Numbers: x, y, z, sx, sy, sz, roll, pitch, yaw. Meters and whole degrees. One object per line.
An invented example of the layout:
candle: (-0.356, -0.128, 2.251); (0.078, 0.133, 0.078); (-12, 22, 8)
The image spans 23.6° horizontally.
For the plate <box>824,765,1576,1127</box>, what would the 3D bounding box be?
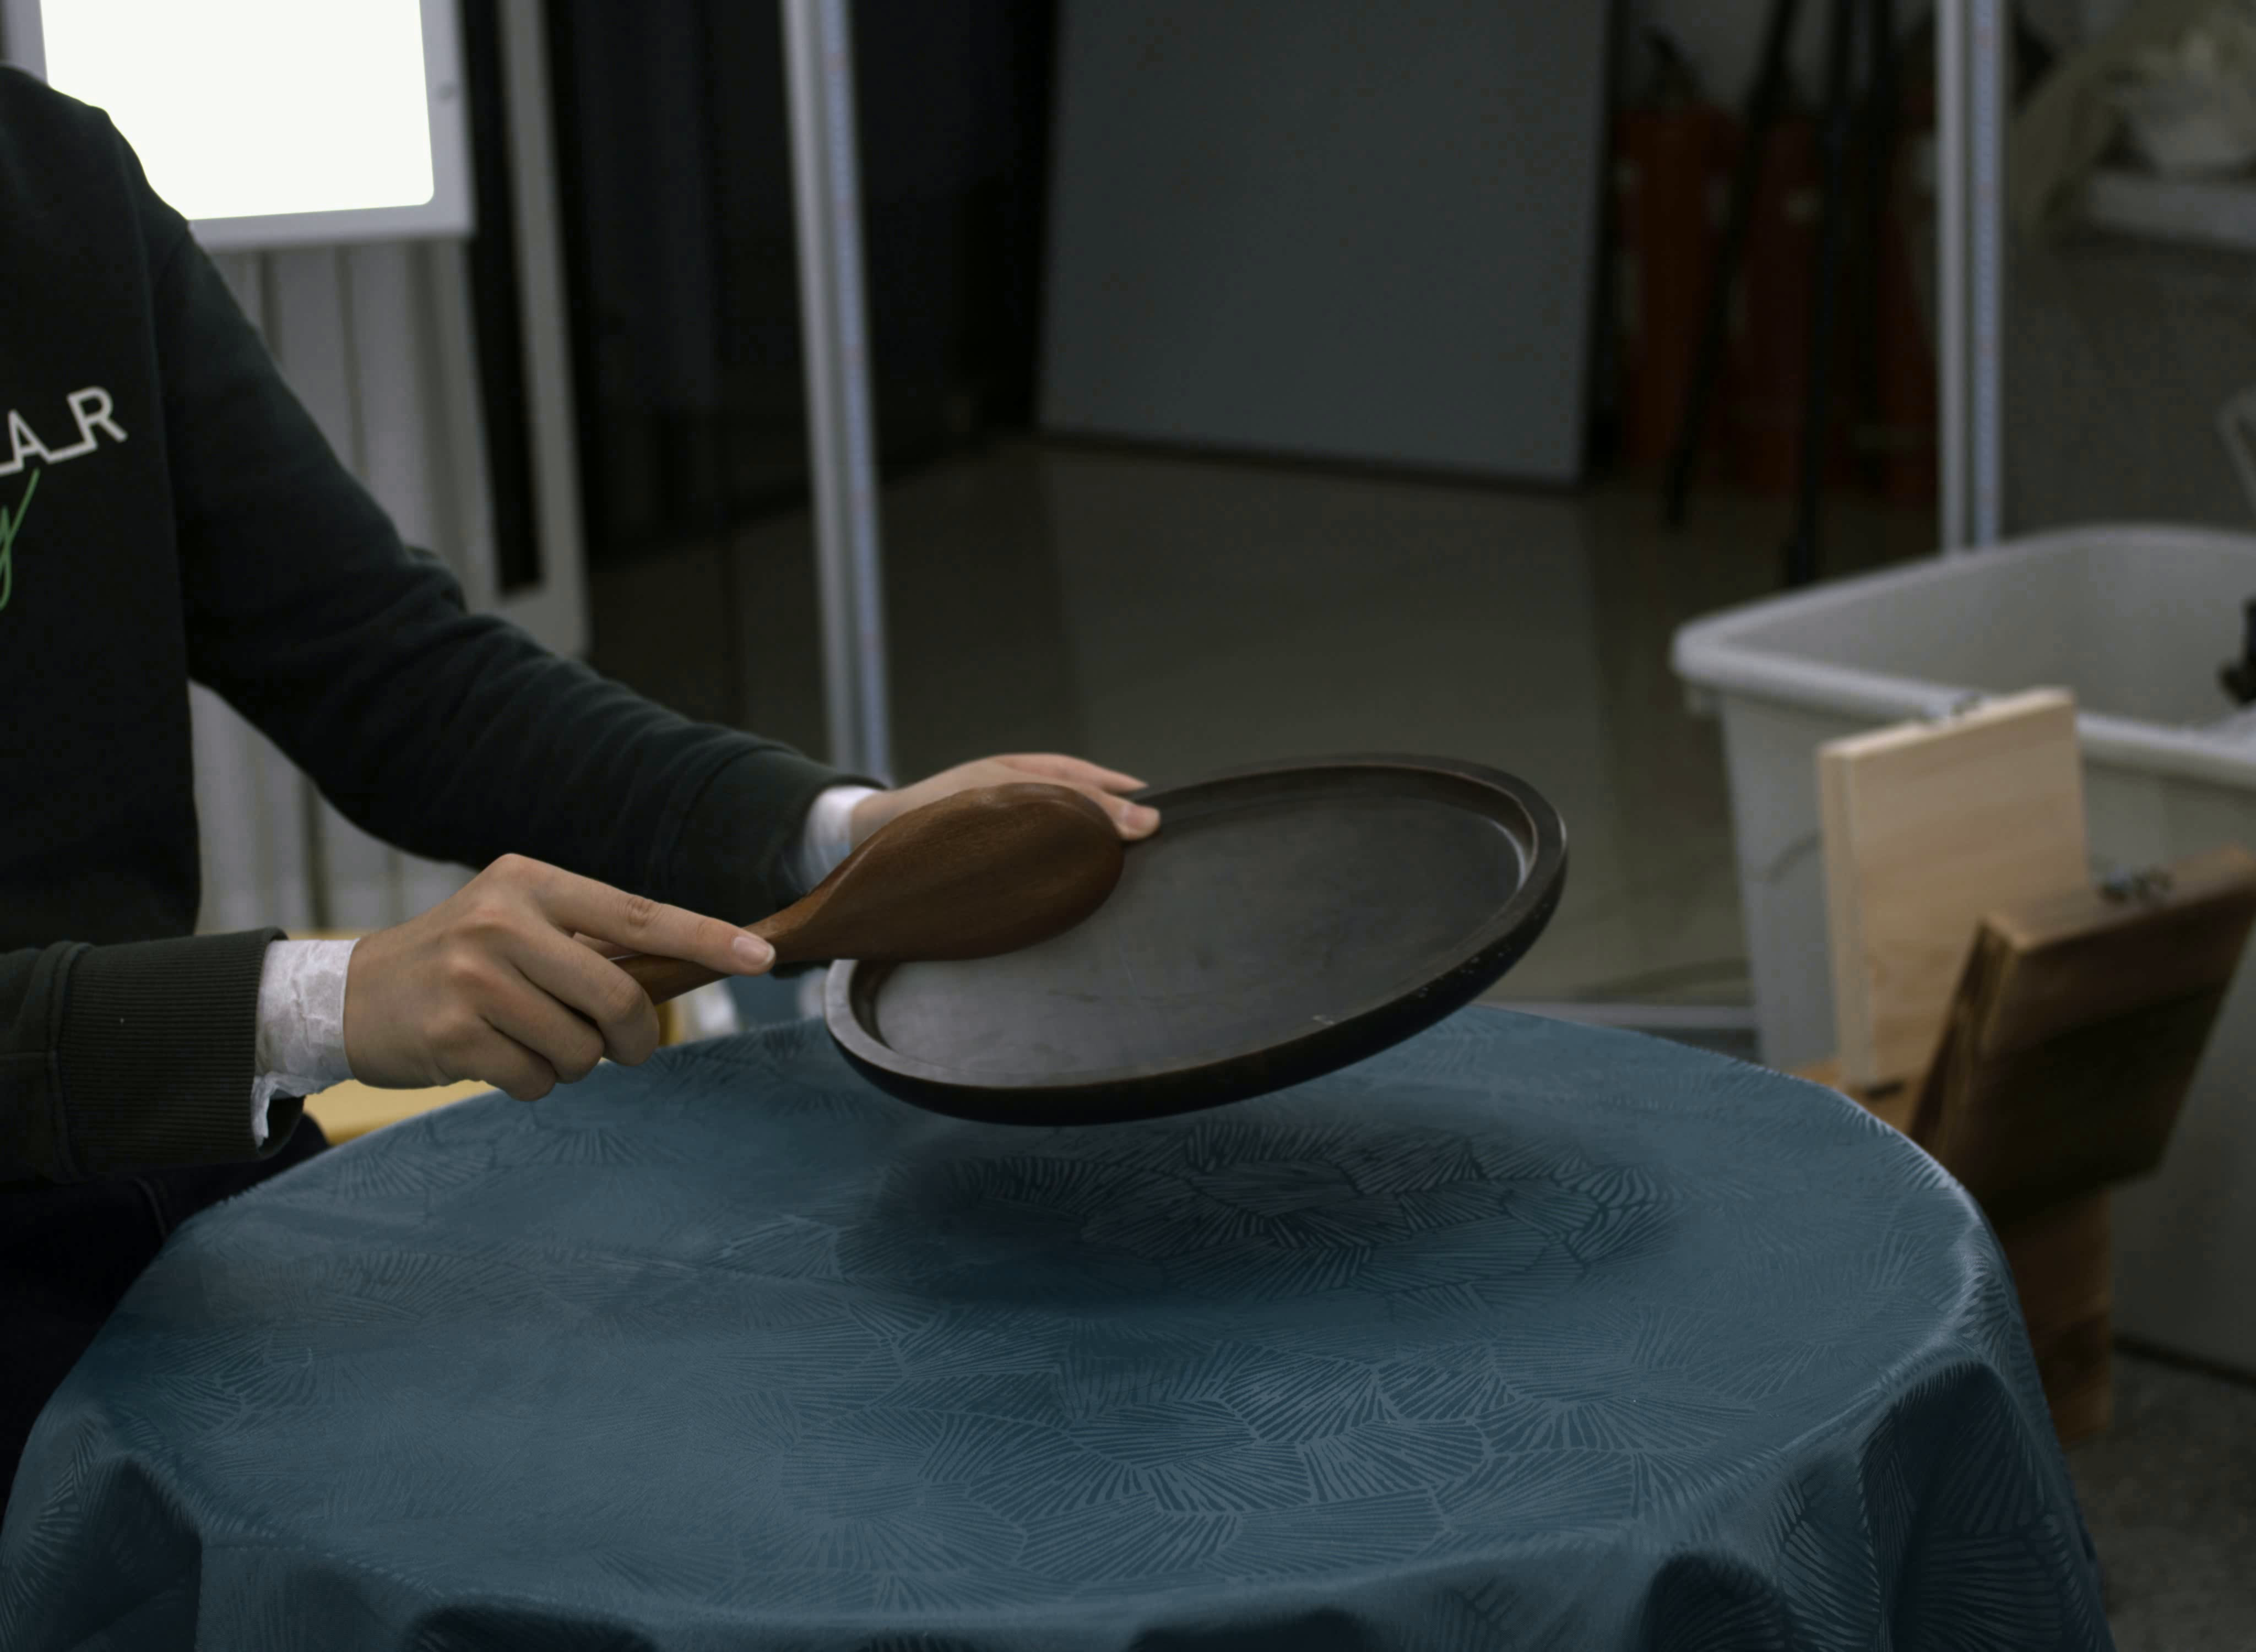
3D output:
plate: (0.025, 0.037, 1.764); (0.252, 0.029, 0.255); (-13, 21, 4)

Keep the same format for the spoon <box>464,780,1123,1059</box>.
spoon: (-0.103, 0.034, 1.664); (0.214, 0.075, 0.017); (-17, 50, 10)
